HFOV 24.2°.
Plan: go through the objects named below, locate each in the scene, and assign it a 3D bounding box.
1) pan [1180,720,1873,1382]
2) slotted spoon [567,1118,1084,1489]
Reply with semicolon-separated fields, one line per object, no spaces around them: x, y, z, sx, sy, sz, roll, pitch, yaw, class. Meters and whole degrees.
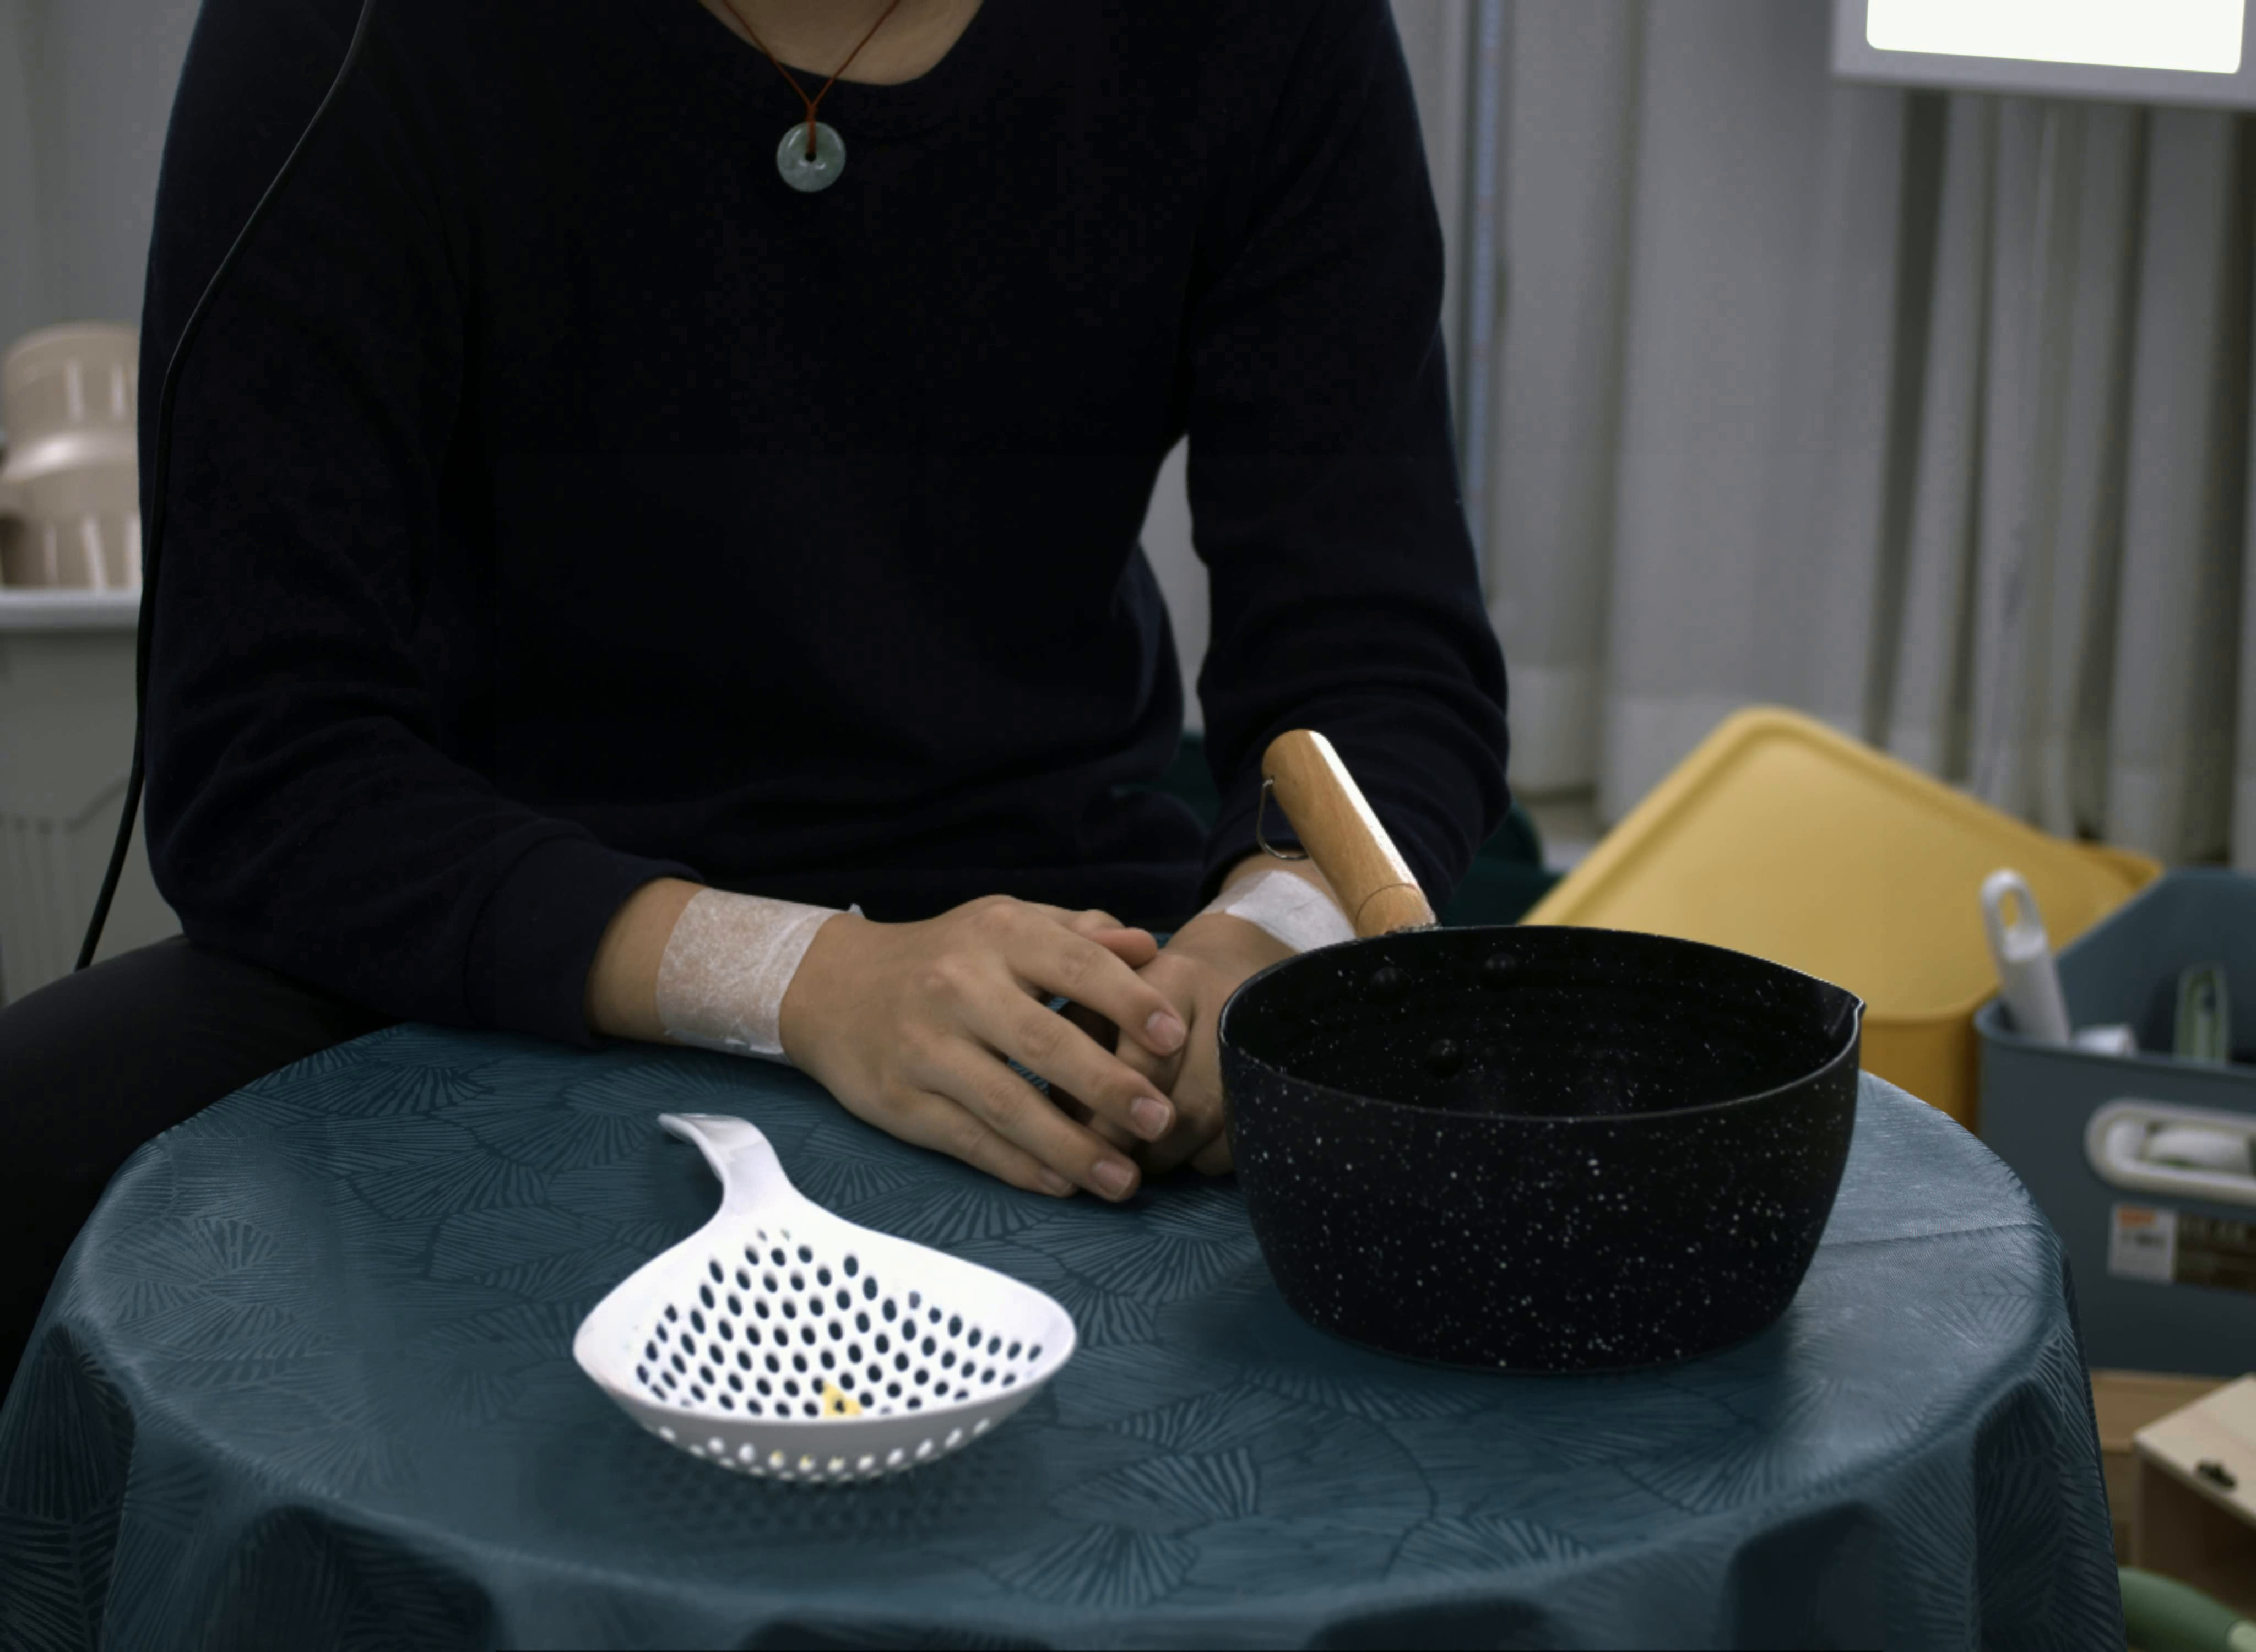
0.097;0.063;1.601;0.208;0.109;0.339;-5;18;-15;pan
-0.105;0.121;1.506;0.137;0.051;0.344;-4;18;-13;slotted spoon
